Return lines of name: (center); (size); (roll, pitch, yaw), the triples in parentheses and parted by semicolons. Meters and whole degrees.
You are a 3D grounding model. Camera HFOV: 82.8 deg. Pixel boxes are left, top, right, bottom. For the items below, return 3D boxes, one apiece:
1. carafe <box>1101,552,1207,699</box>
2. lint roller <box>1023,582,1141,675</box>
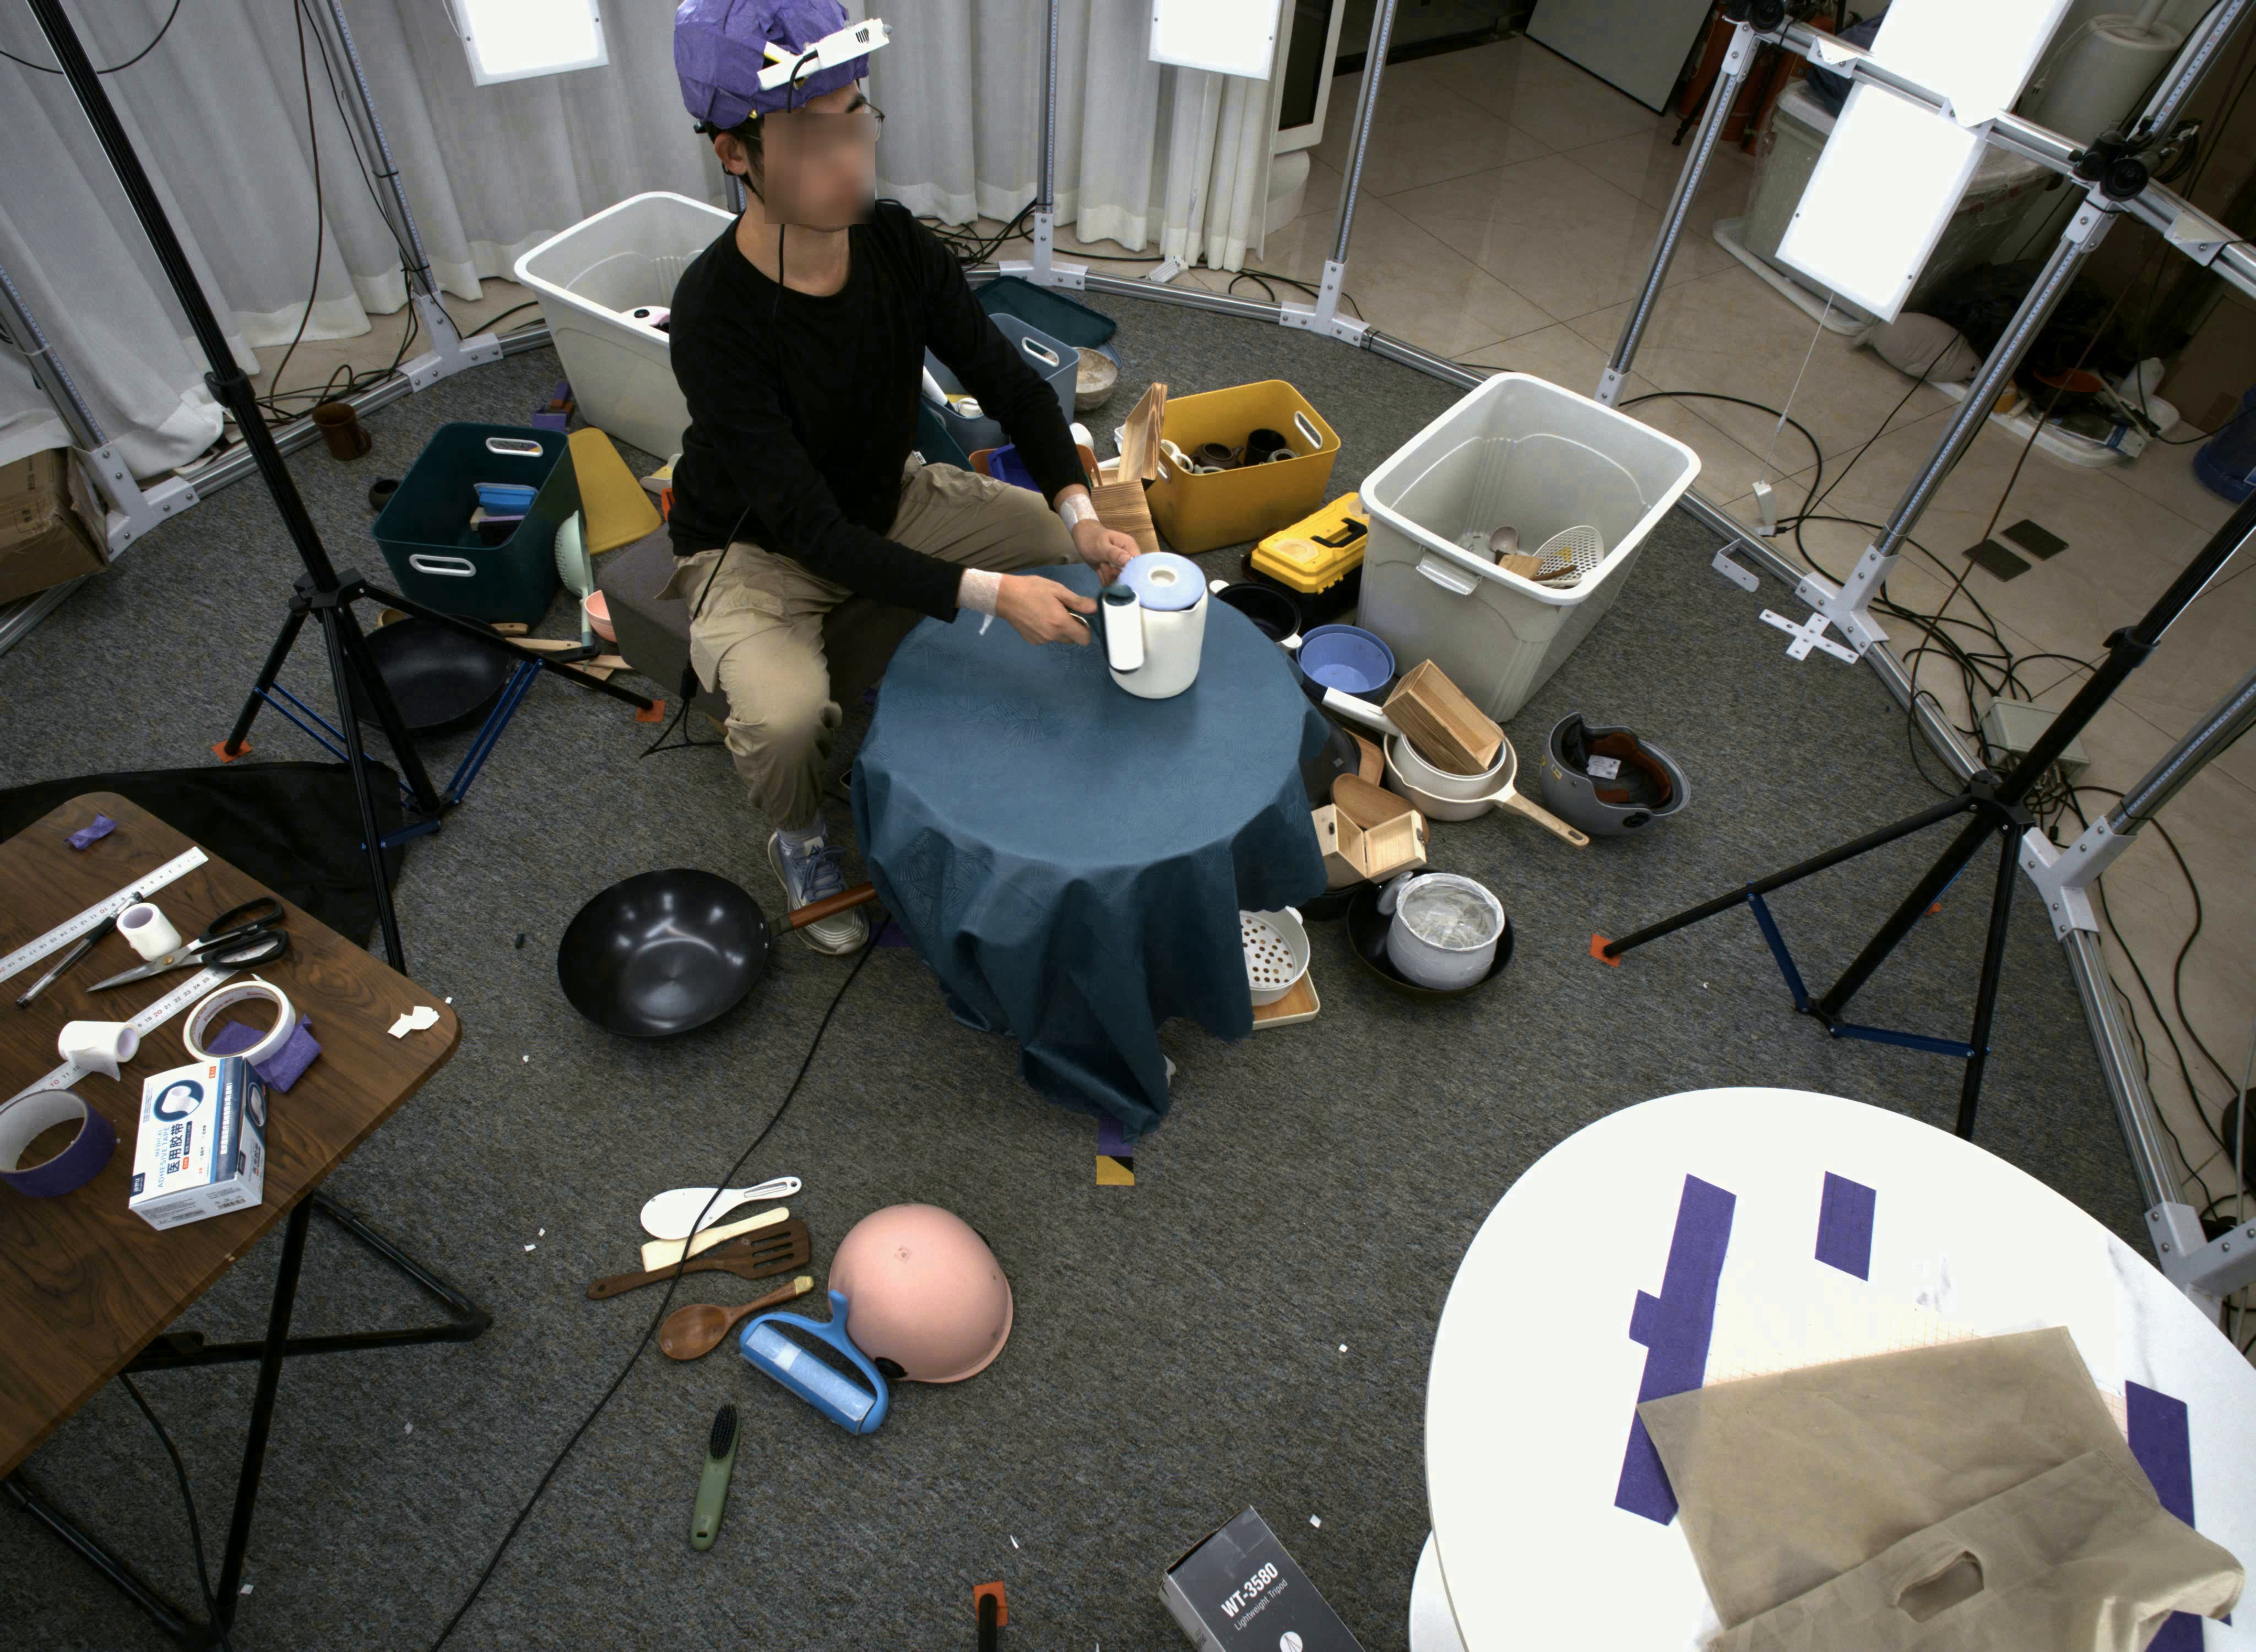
carafe: (0.026, -0.296, 1.818); (0.133, 0.178, 0.194); (-29, 55, -26)
lint roller: (-0.071, -0.276, 1.743); (0.181, 0.131, 0.049); (12, 42, 22)
